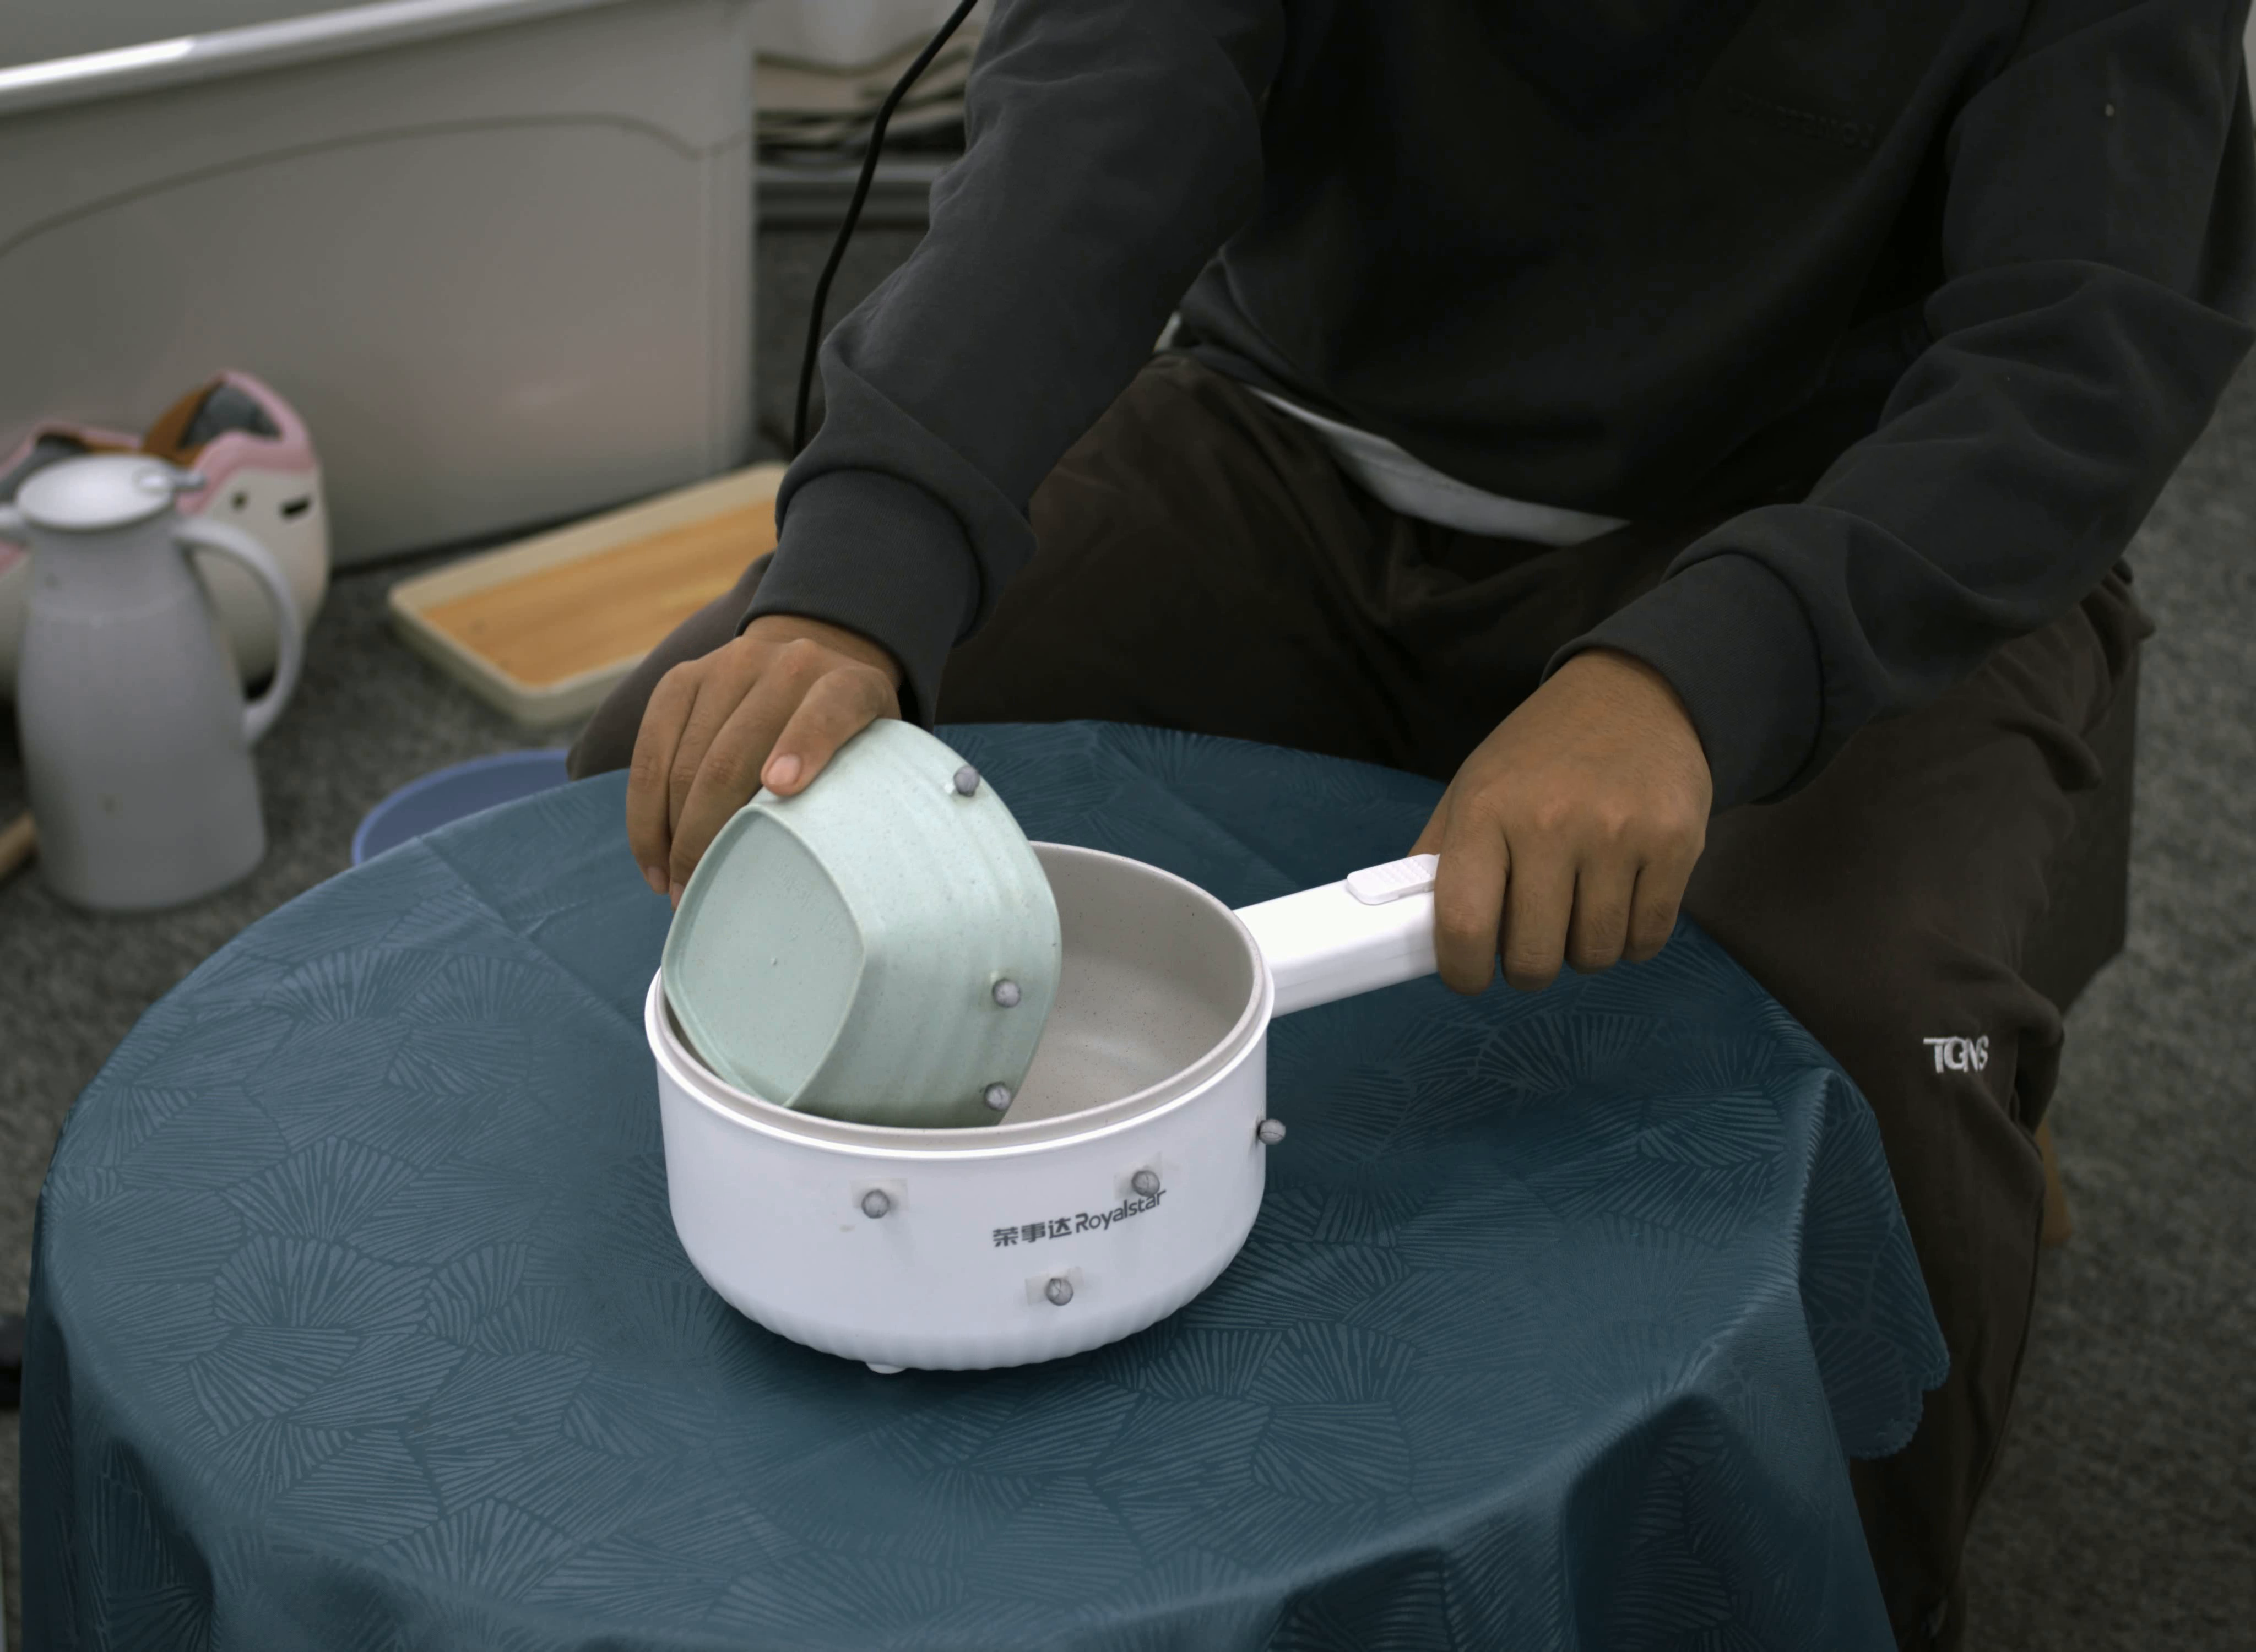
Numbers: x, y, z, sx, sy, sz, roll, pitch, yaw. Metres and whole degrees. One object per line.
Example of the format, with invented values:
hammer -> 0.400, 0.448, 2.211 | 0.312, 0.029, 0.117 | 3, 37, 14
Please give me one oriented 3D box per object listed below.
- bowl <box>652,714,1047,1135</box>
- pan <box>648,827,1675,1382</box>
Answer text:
bowl -> -0.096, 0.040, 1.751 | 0.059, 0.151, 0.151 | 3, 16, -44
pan -> 0.017, 0.083, 1.846 | 0.356, 0.101, 0.202 | -13, 26, -24
